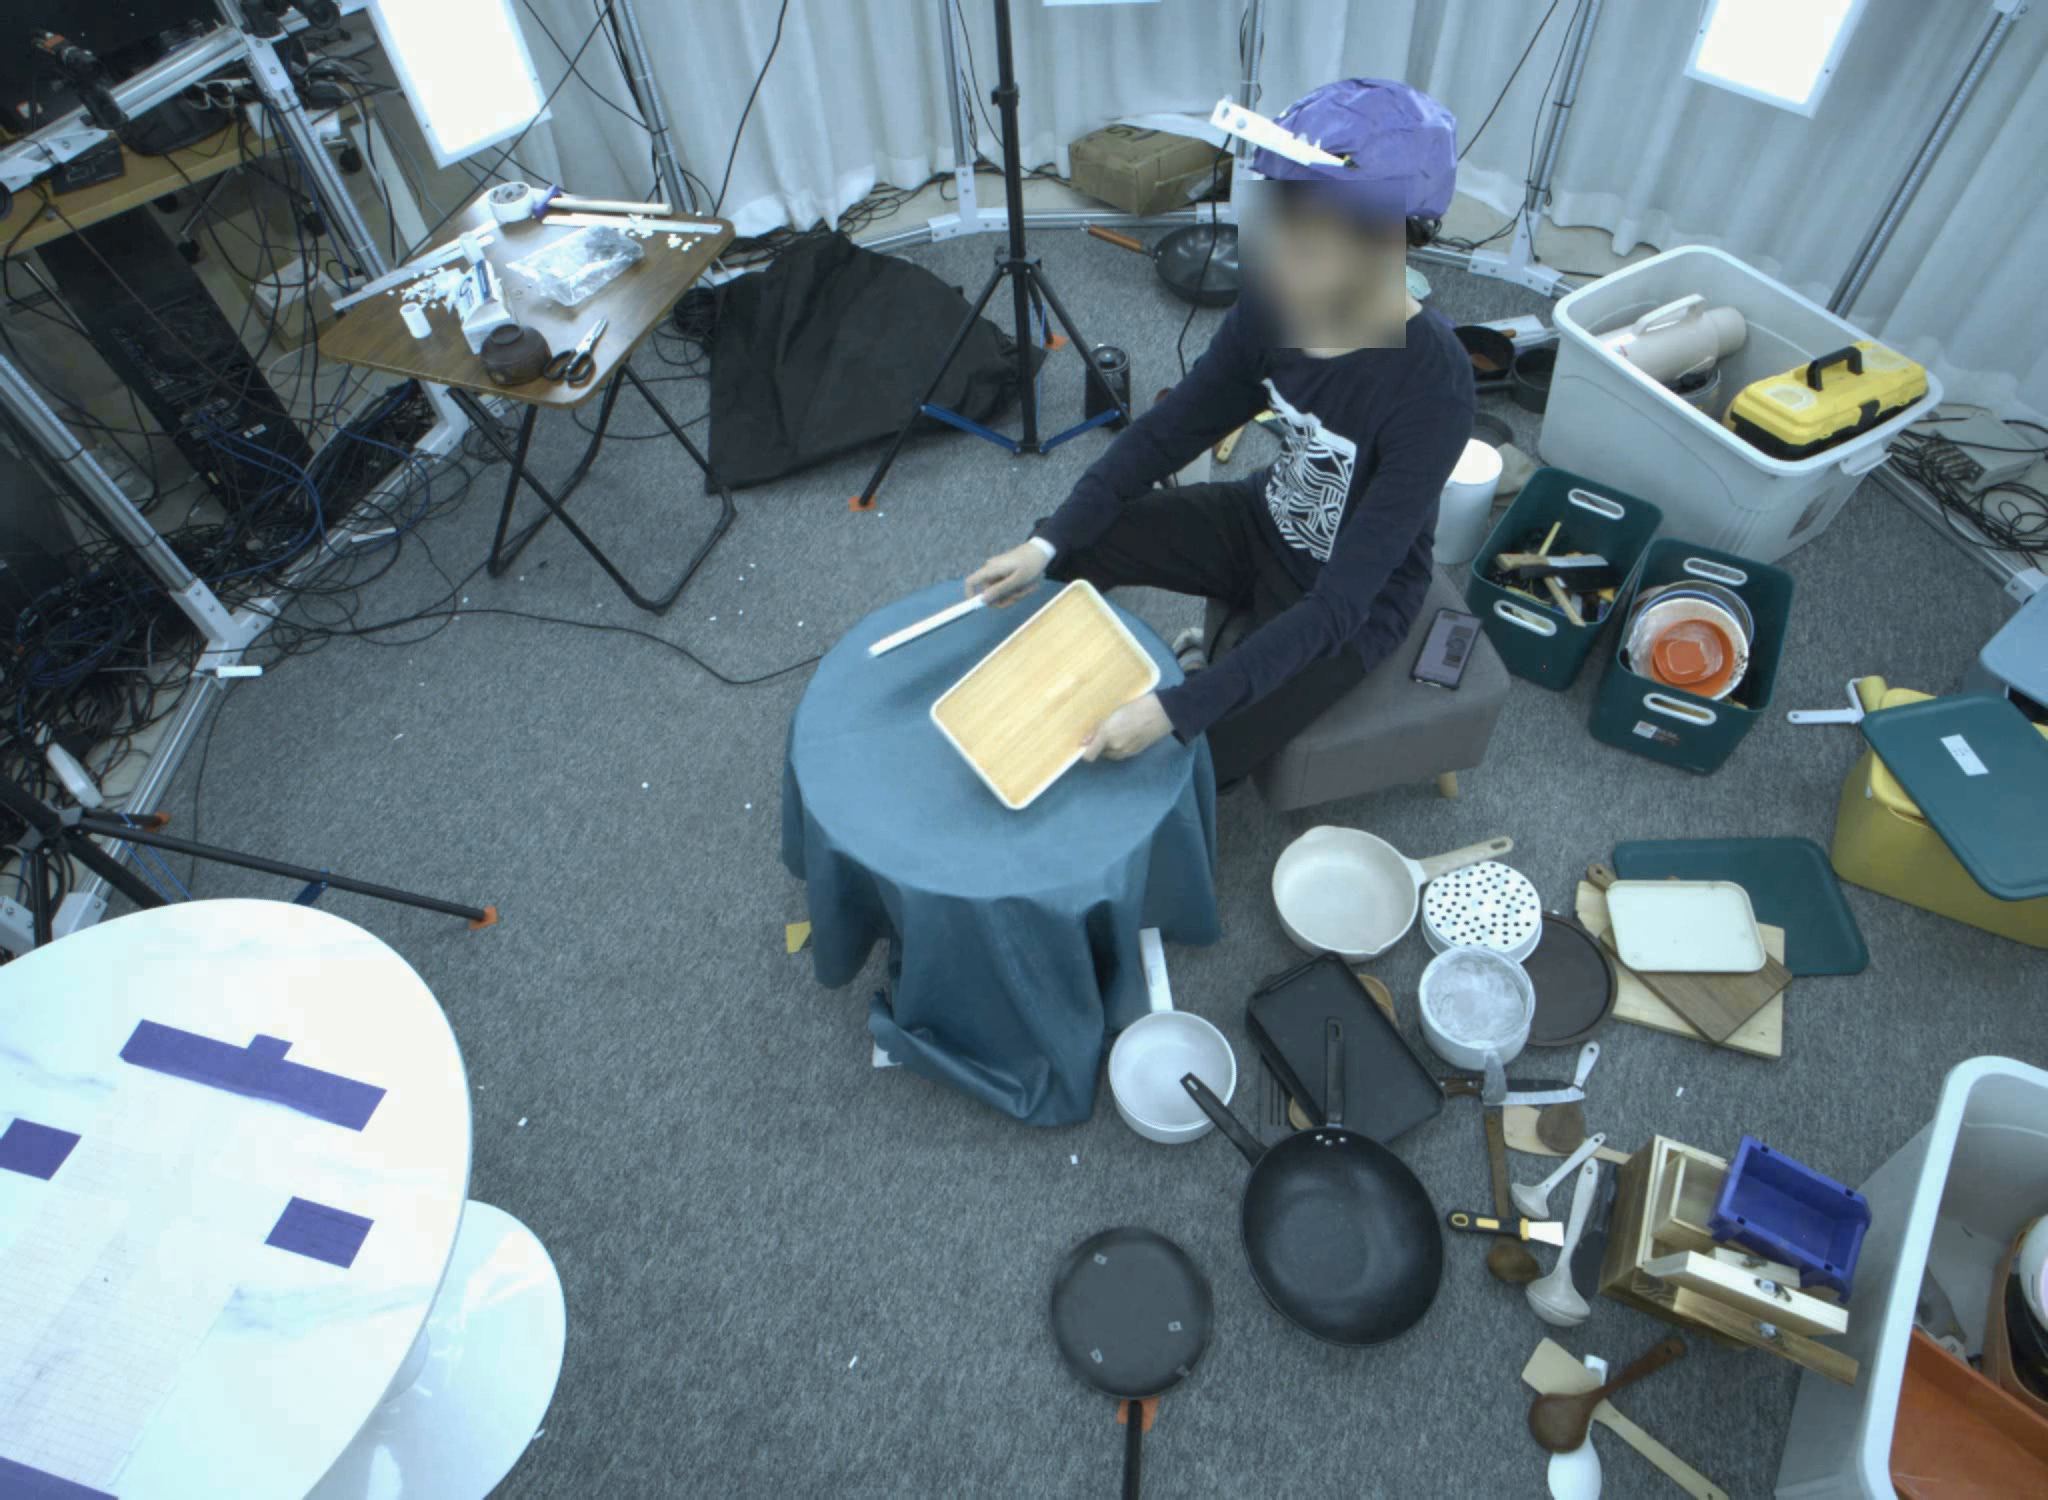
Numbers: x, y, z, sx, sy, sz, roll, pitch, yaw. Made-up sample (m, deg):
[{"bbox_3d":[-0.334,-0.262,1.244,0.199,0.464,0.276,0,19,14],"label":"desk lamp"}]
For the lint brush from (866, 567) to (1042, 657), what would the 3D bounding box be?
[{"bbox_3d":[-0.102,-0.210,1.853,0.312,0.059,0.021,-28,91,-22],"label":"lint brush"}]

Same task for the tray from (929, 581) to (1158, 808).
[{"bbox_3d":[0.031,-0.080,1.733,0.302,0.027,0.193,-42,100,-16],"label":"tray"}]
